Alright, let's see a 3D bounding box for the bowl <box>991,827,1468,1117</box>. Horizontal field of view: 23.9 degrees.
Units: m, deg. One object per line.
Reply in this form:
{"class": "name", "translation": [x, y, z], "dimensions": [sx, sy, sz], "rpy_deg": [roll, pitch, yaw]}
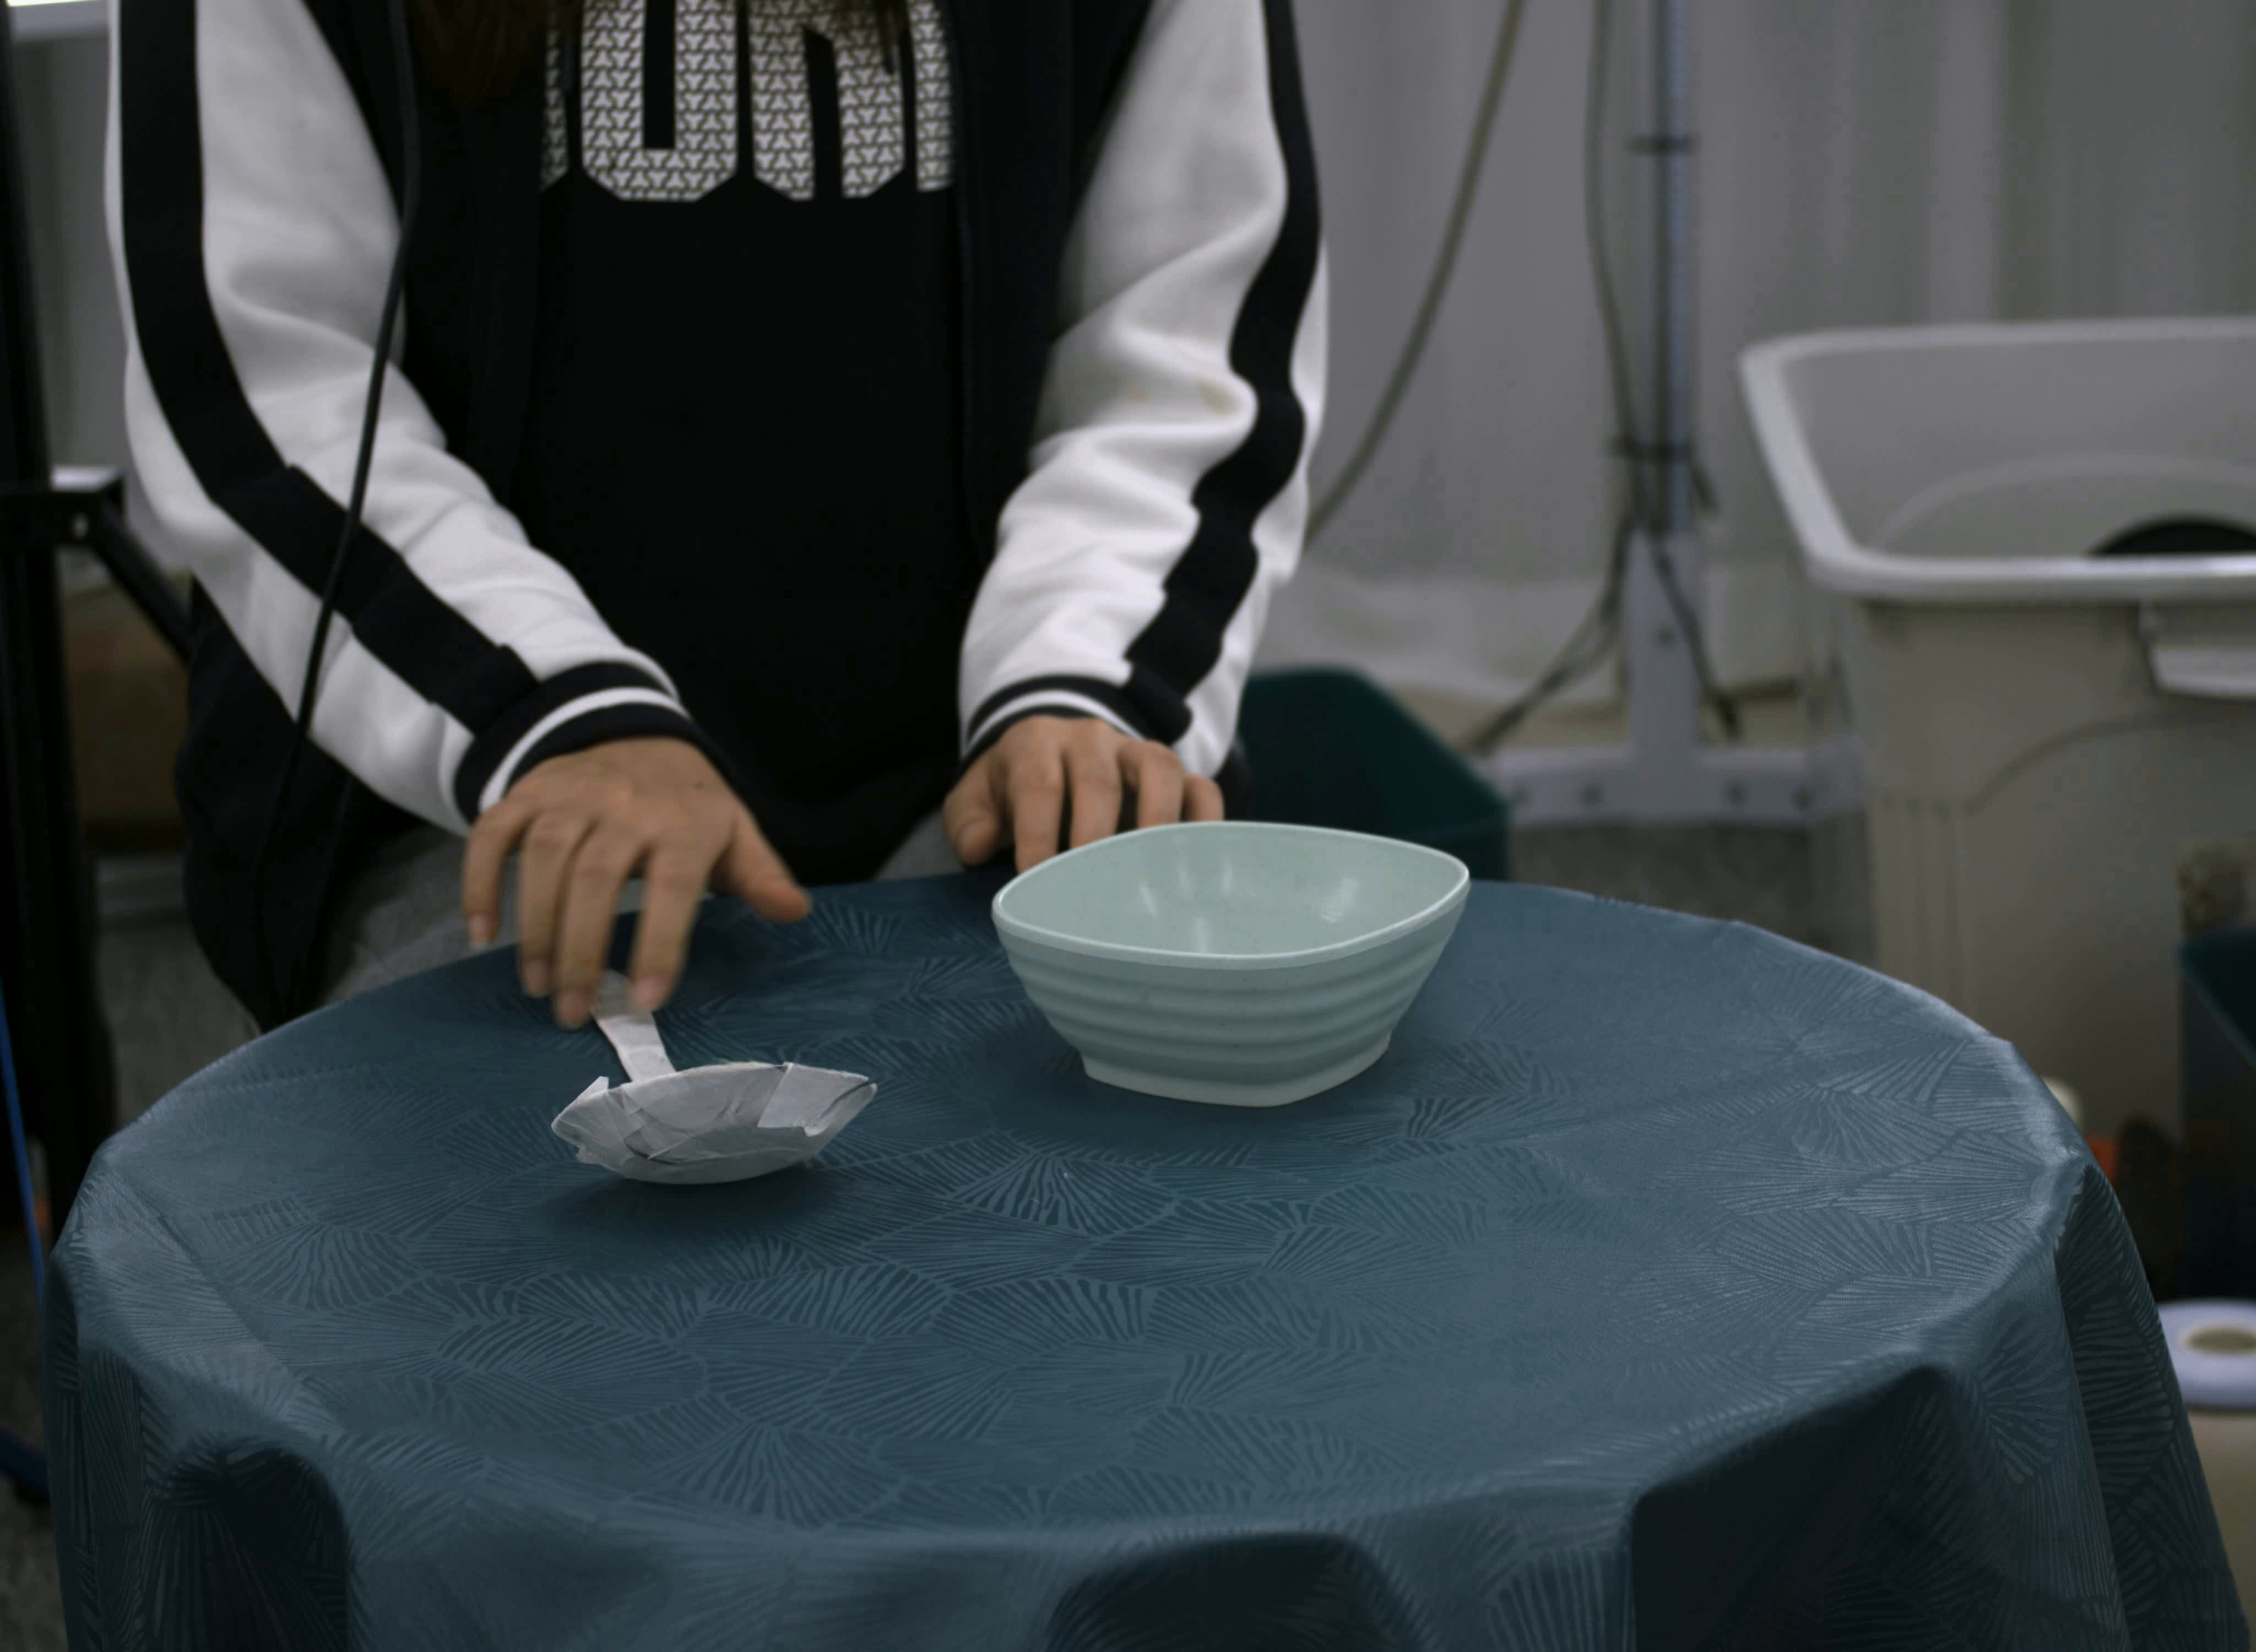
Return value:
{"class": "bowl", "translation": [0.033, 0.049, 1.665], "dimensions": [0.150, 0.058, 0.152], "rpy_deg": [-2, 16, -1]}

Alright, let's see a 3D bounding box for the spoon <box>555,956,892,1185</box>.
{"class": "spoon", "translation": [-0.135, 0.058, 1.654], "dimensions": [0.099, 0.059, 0.280], "rpy_deg": [1, 15, -11]}
